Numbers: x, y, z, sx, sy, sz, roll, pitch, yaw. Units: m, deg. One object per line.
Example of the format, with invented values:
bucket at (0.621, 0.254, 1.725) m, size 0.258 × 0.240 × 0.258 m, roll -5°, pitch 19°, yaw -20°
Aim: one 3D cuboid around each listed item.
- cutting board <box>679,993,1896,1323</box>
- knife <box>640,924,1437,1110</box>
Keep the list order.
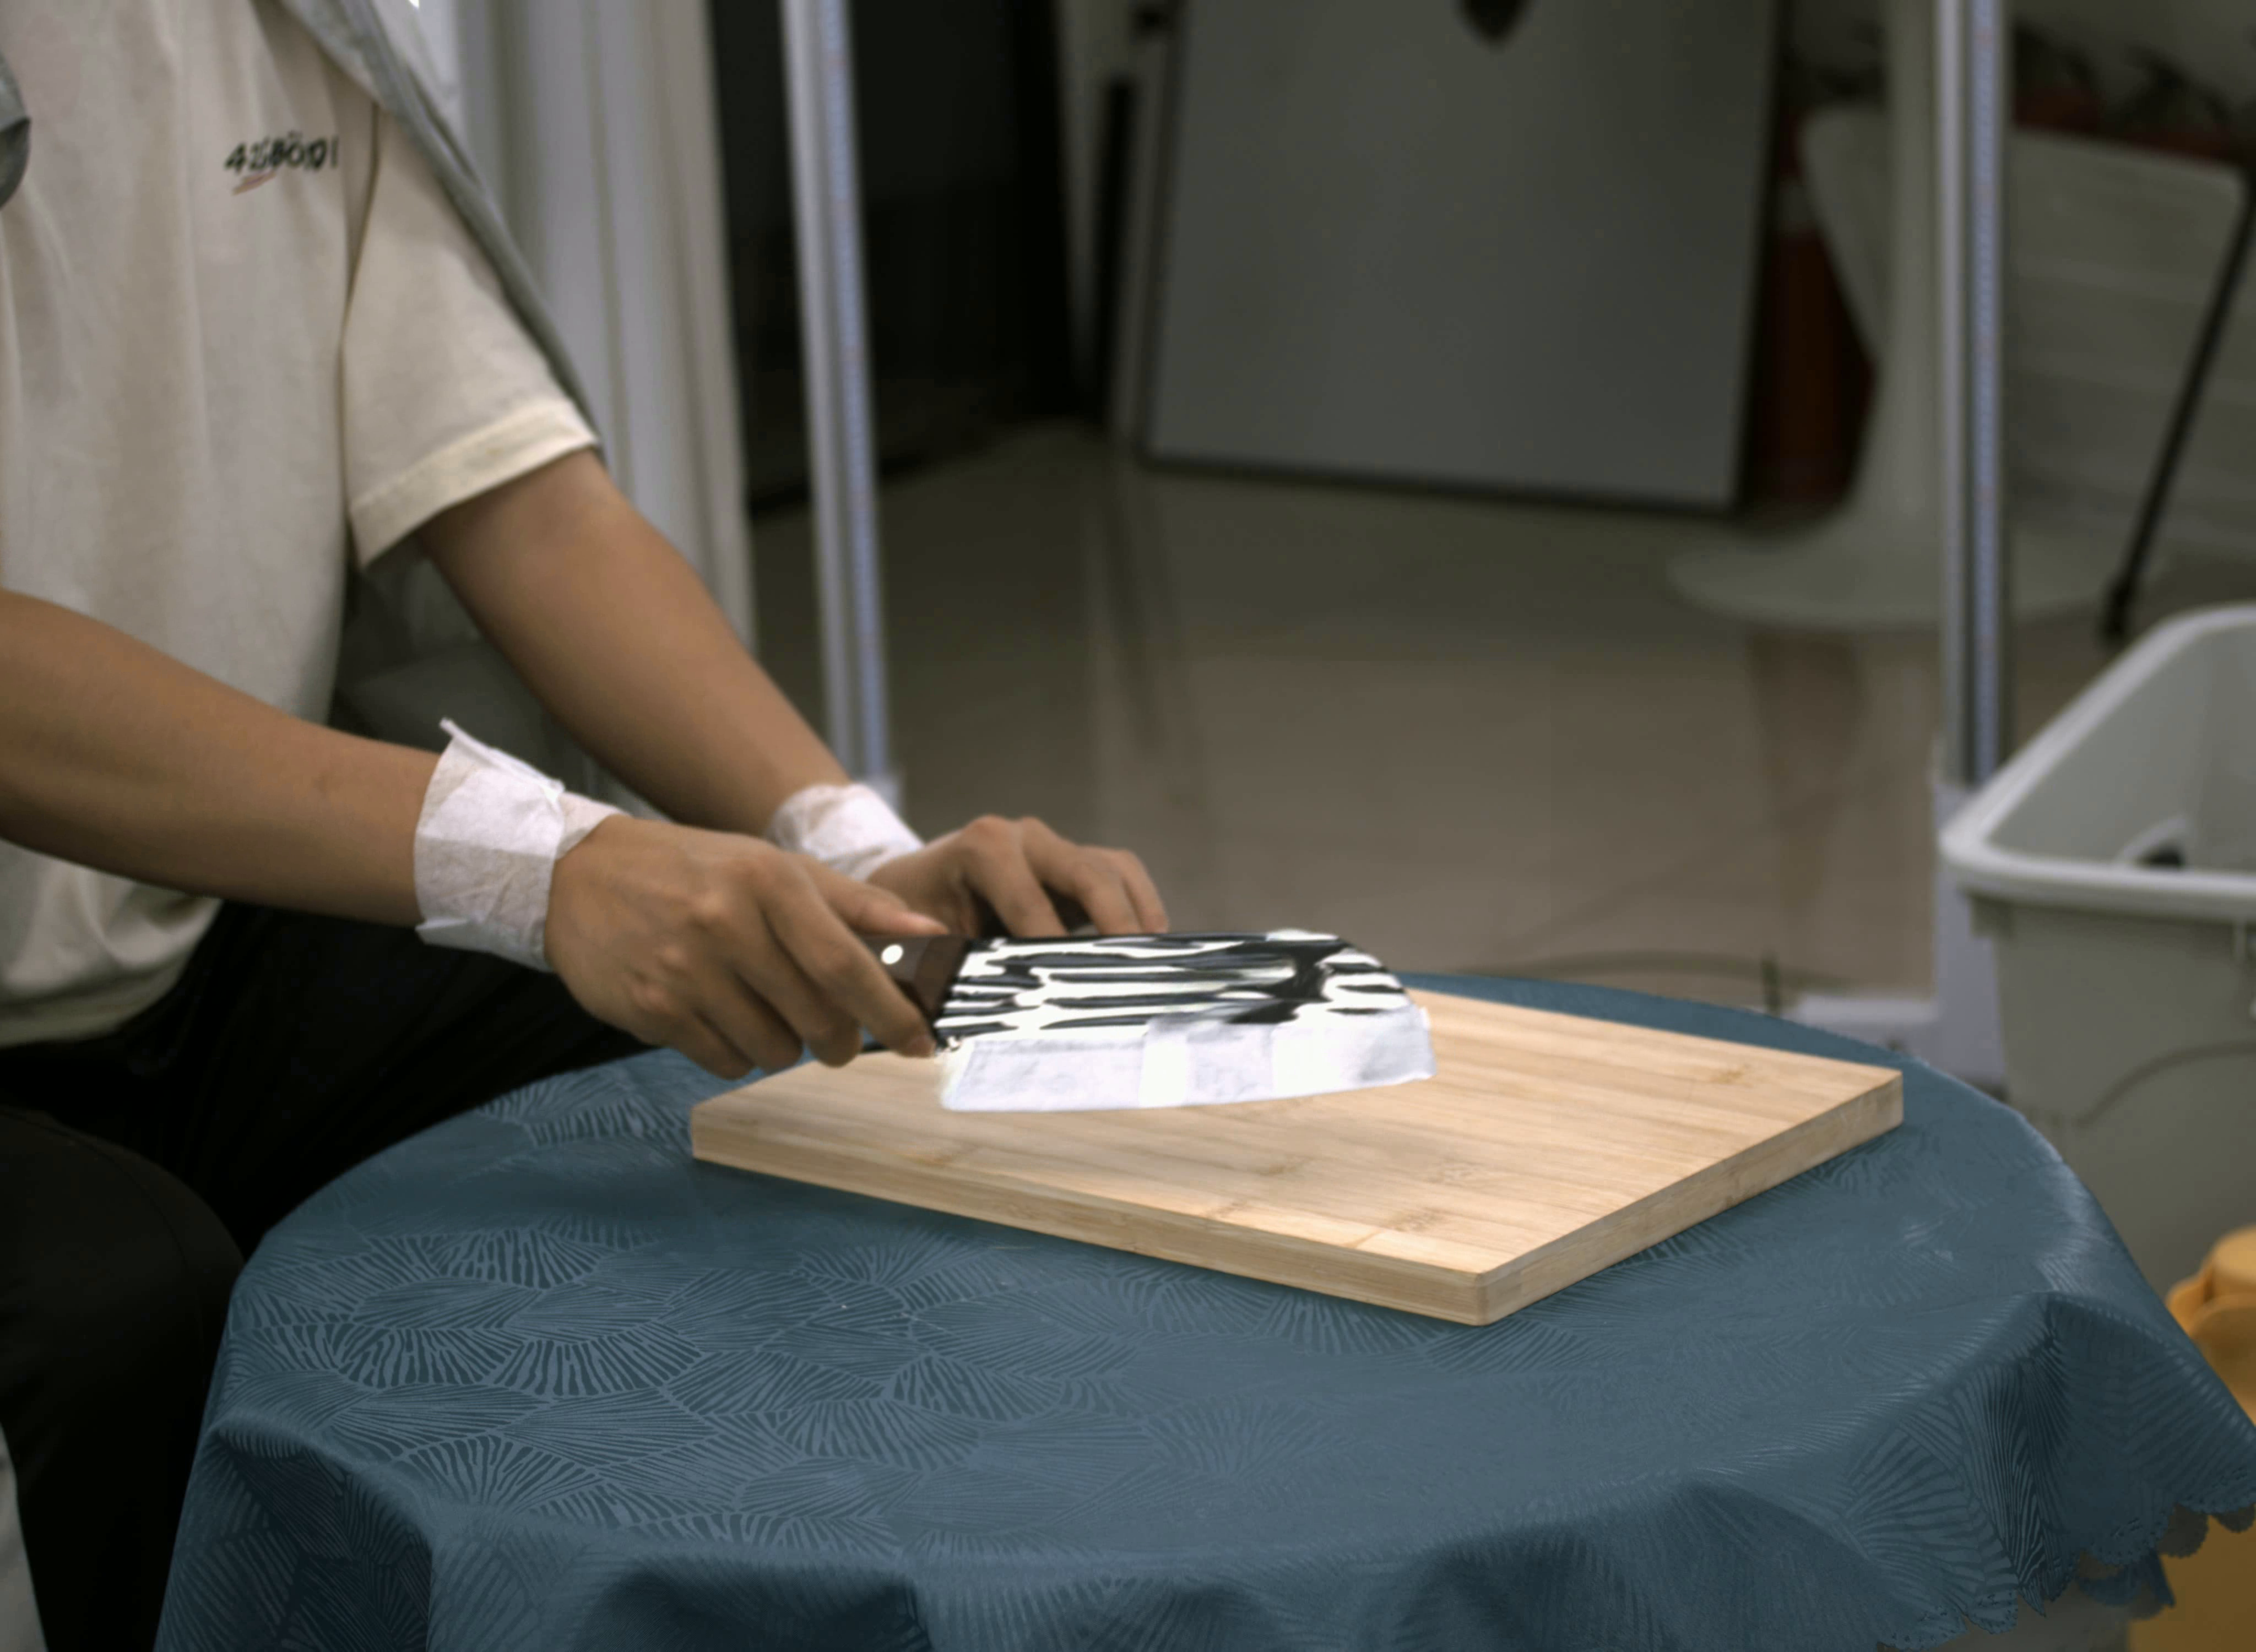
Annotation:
cutting board at (0.051, 0.099, 1.818) m, size 0.351 × 0.024 × 0.246 m, roll 7°, pitch 18°, yaw 40°
knife at (-0.034, 0.063, 1.757) m, size 0.300 × 0.024 × 0.068 m, roll -2°, pitch 56°, yaw 26°
